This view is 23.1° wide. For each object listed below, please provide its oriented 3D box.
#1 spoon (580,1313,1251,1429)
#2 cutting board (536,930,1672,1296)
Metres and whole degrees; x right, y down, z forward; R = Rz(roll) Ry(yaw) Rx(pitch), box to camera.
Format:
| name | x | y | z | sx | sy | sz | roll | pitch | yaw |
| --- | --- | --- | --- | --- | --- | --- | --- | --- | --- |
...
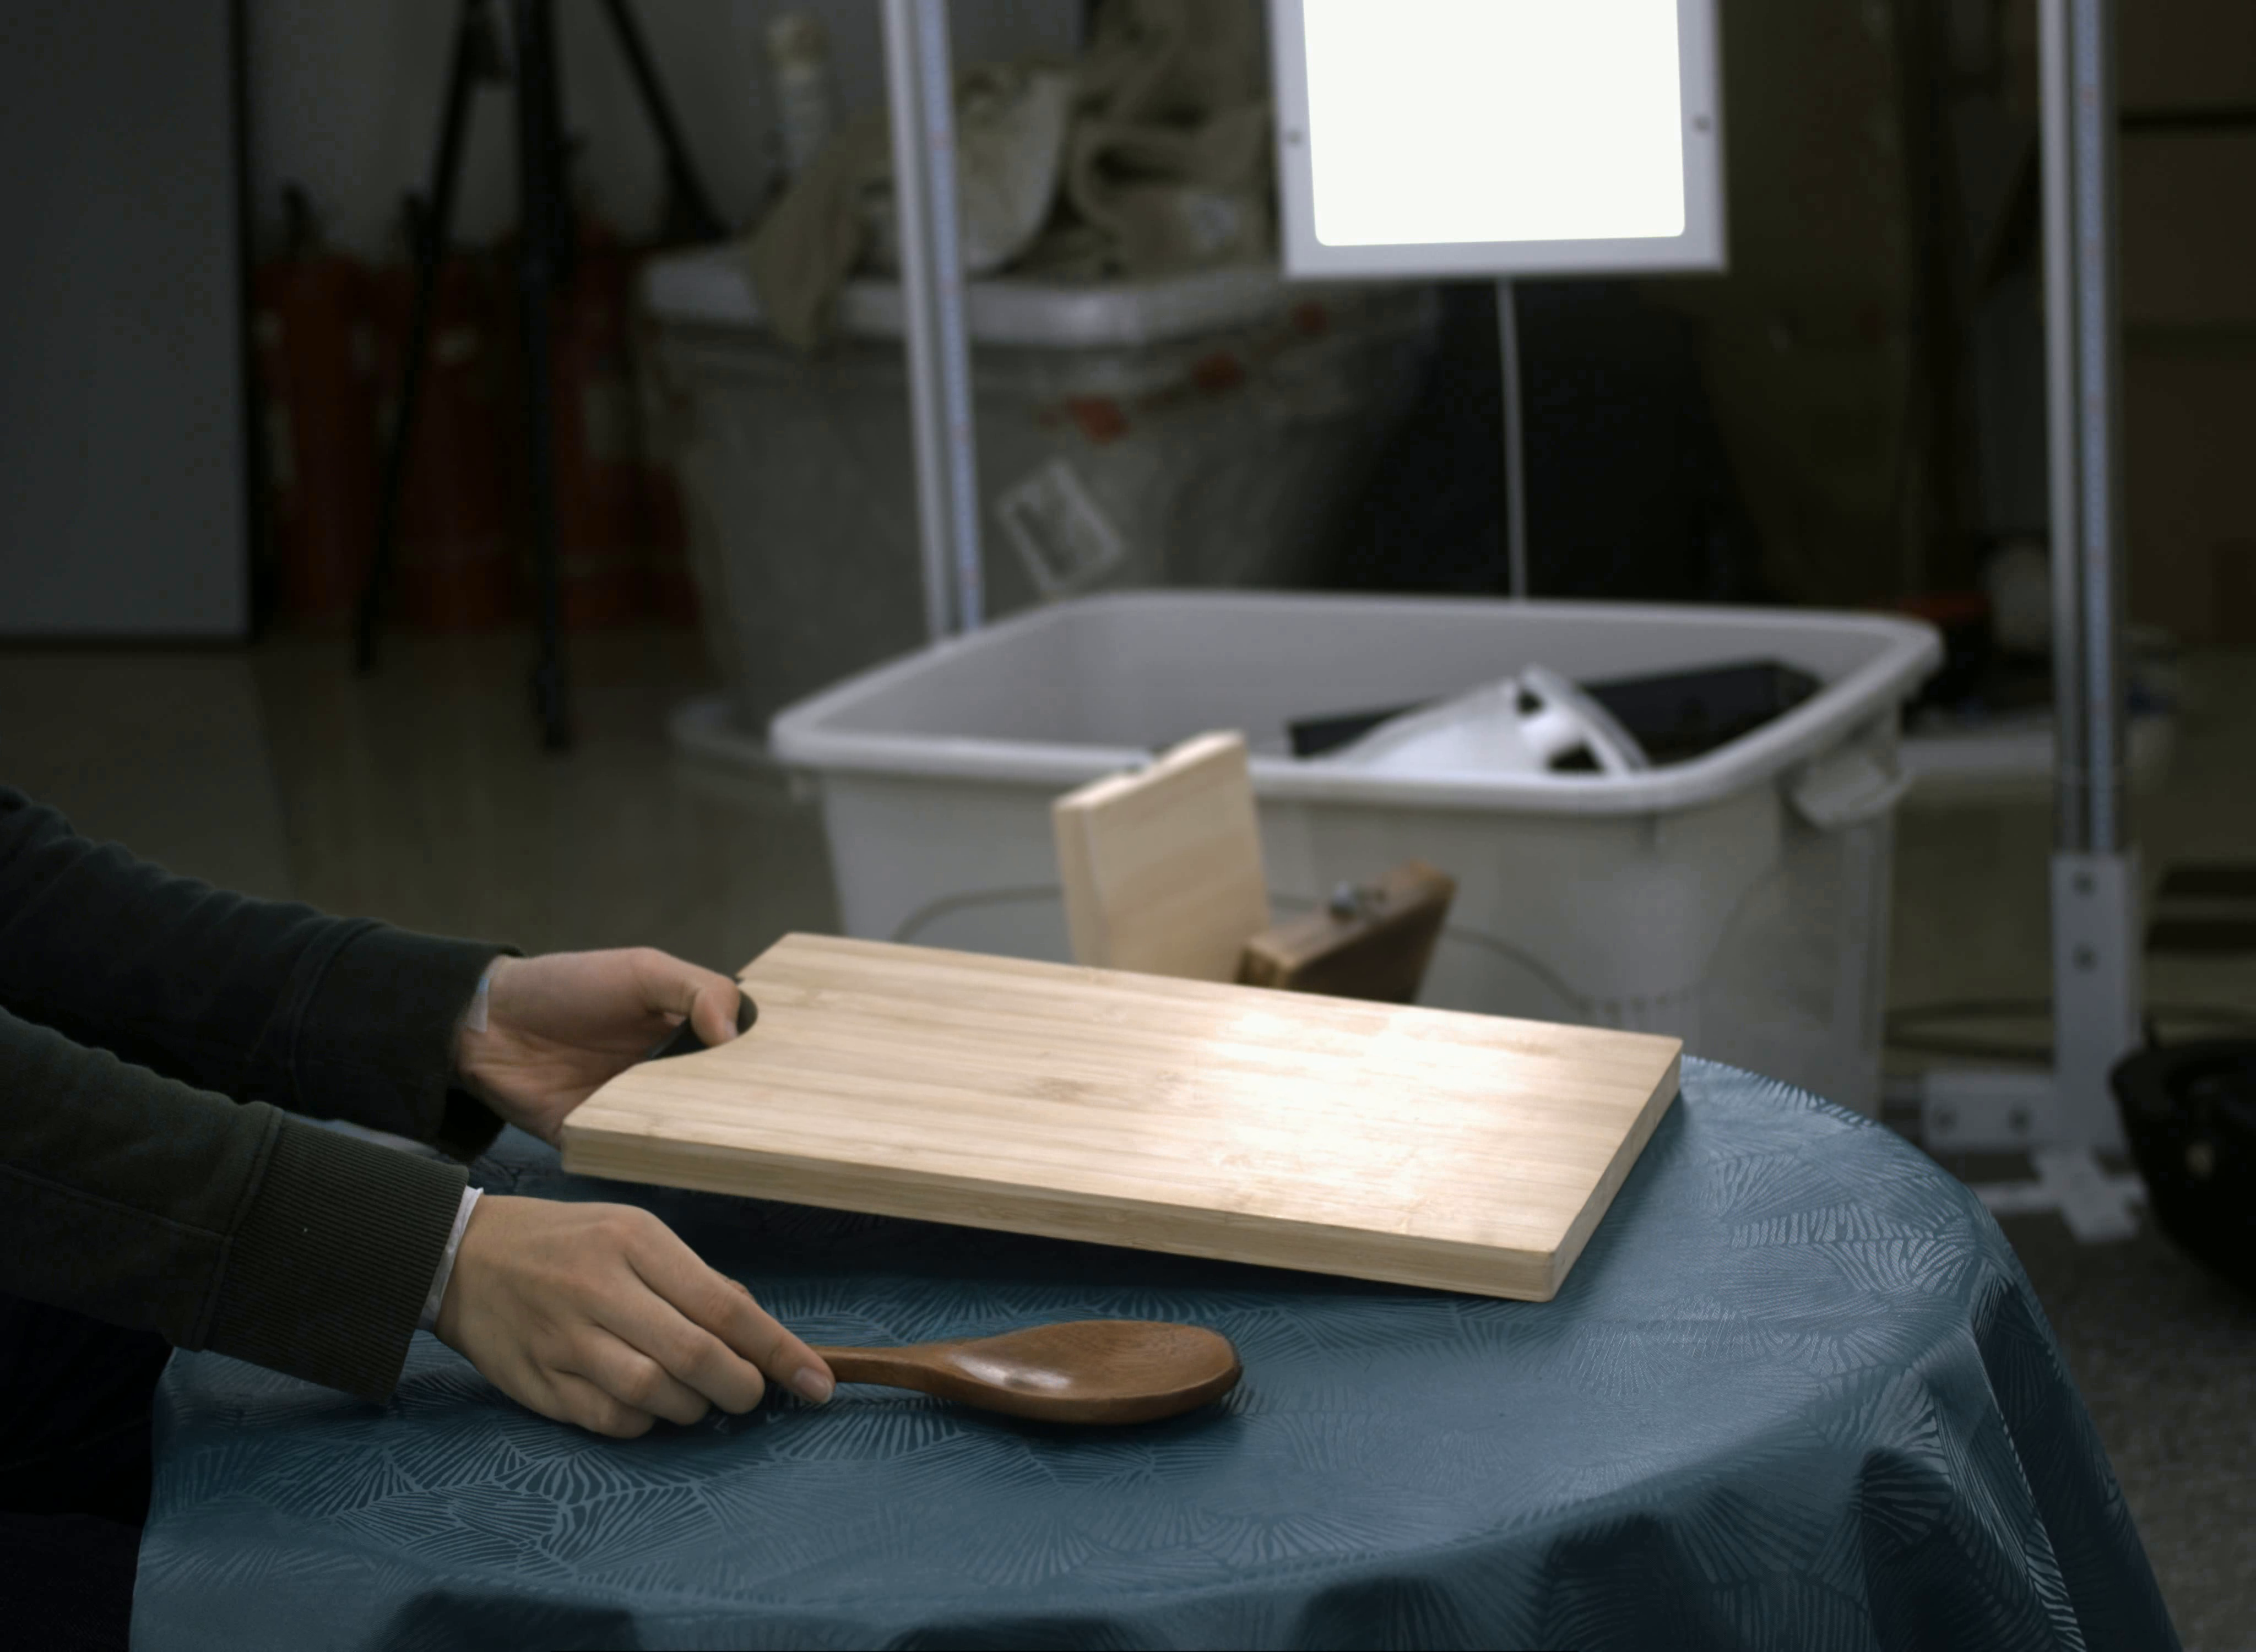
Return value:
| name | x | y | z | sx | sy | sz | roll | pitch | yaw |
| --- | --- | --- | --- | --- | --- | --- | --- | --- | --- |
| spoon | -0.067 | 0.167 | 1.708 | 0.218 | 0.017 | 0.074 | 2 | 17 | 17 |
| cutting board | -0.002 | 0.095 | 1.905 | 0.352 | 0.024 | 0.247 | 6 | 16 | 15 |
